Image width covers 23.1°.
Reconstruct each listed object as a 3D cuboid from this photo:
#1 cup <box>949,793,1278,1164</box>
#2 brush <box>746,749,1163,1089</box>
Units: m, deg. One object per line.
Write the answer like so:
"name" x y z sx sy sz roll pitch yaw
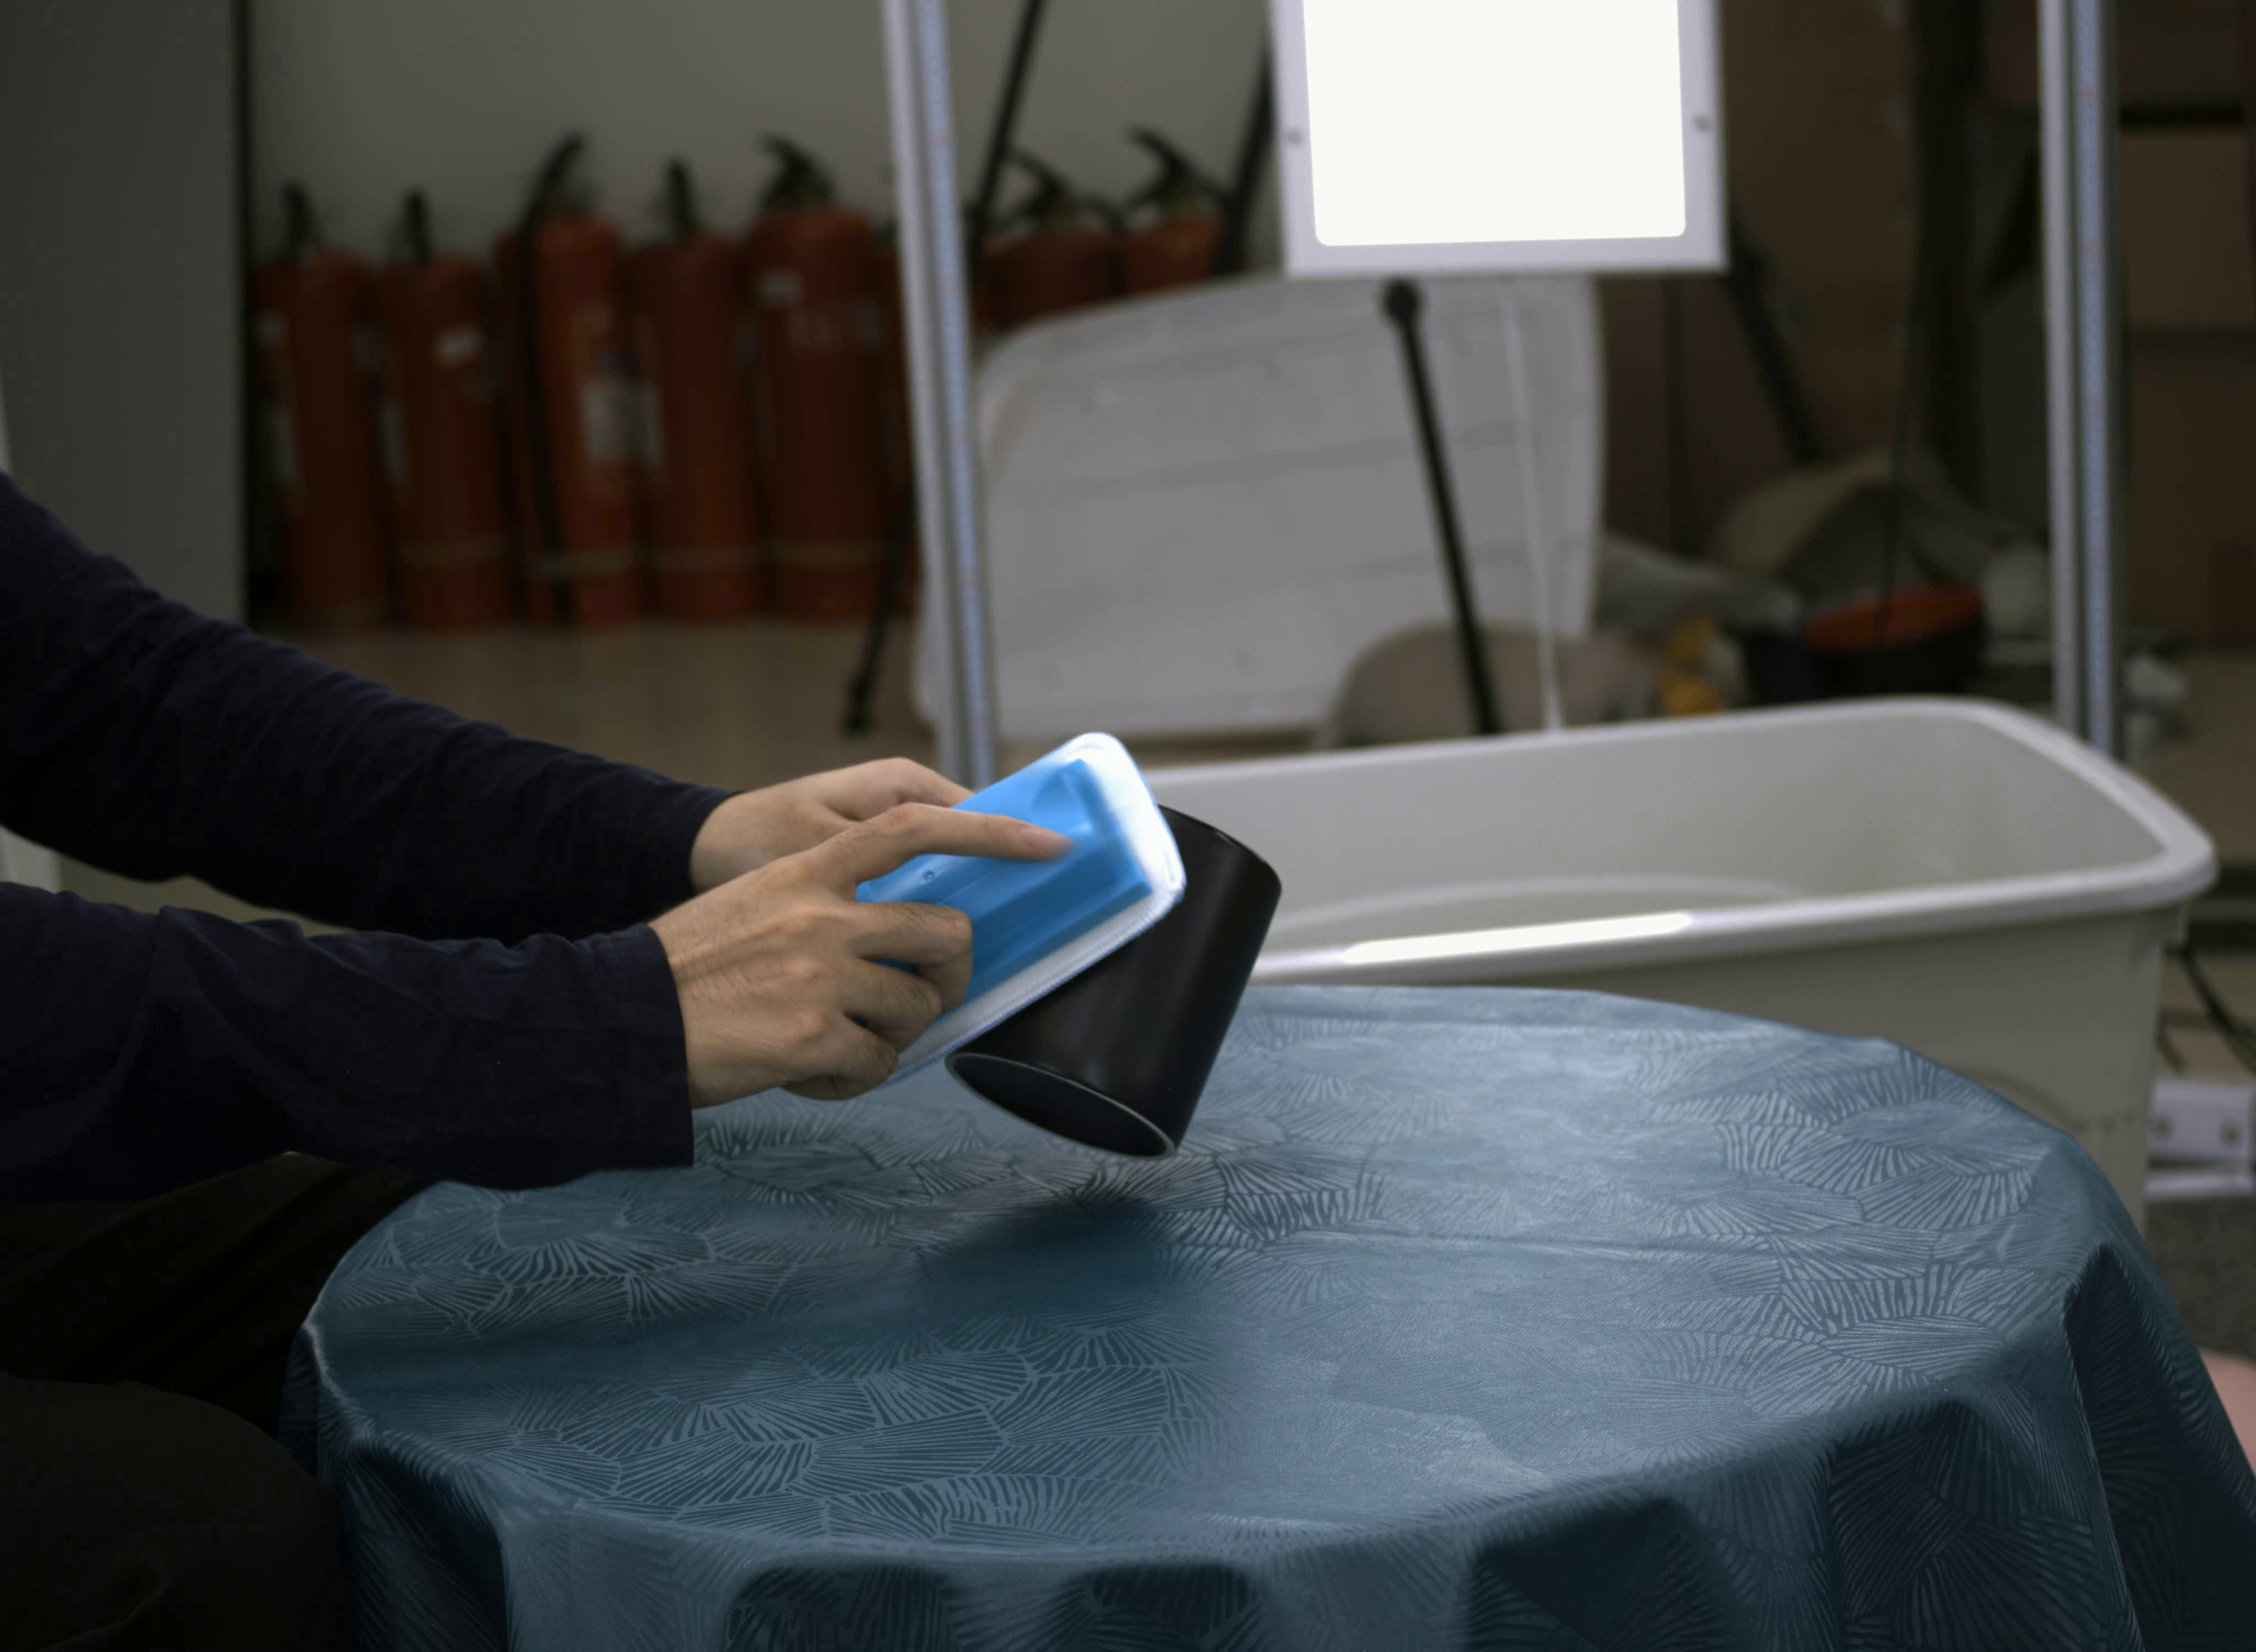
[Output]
"cup" -0.020 0.048 1.904 0.125 0.105 0.088 14 -15 21
"brush" -0.063 0.024 1.851 0.144 0.084 0.055 -26 -33 7
